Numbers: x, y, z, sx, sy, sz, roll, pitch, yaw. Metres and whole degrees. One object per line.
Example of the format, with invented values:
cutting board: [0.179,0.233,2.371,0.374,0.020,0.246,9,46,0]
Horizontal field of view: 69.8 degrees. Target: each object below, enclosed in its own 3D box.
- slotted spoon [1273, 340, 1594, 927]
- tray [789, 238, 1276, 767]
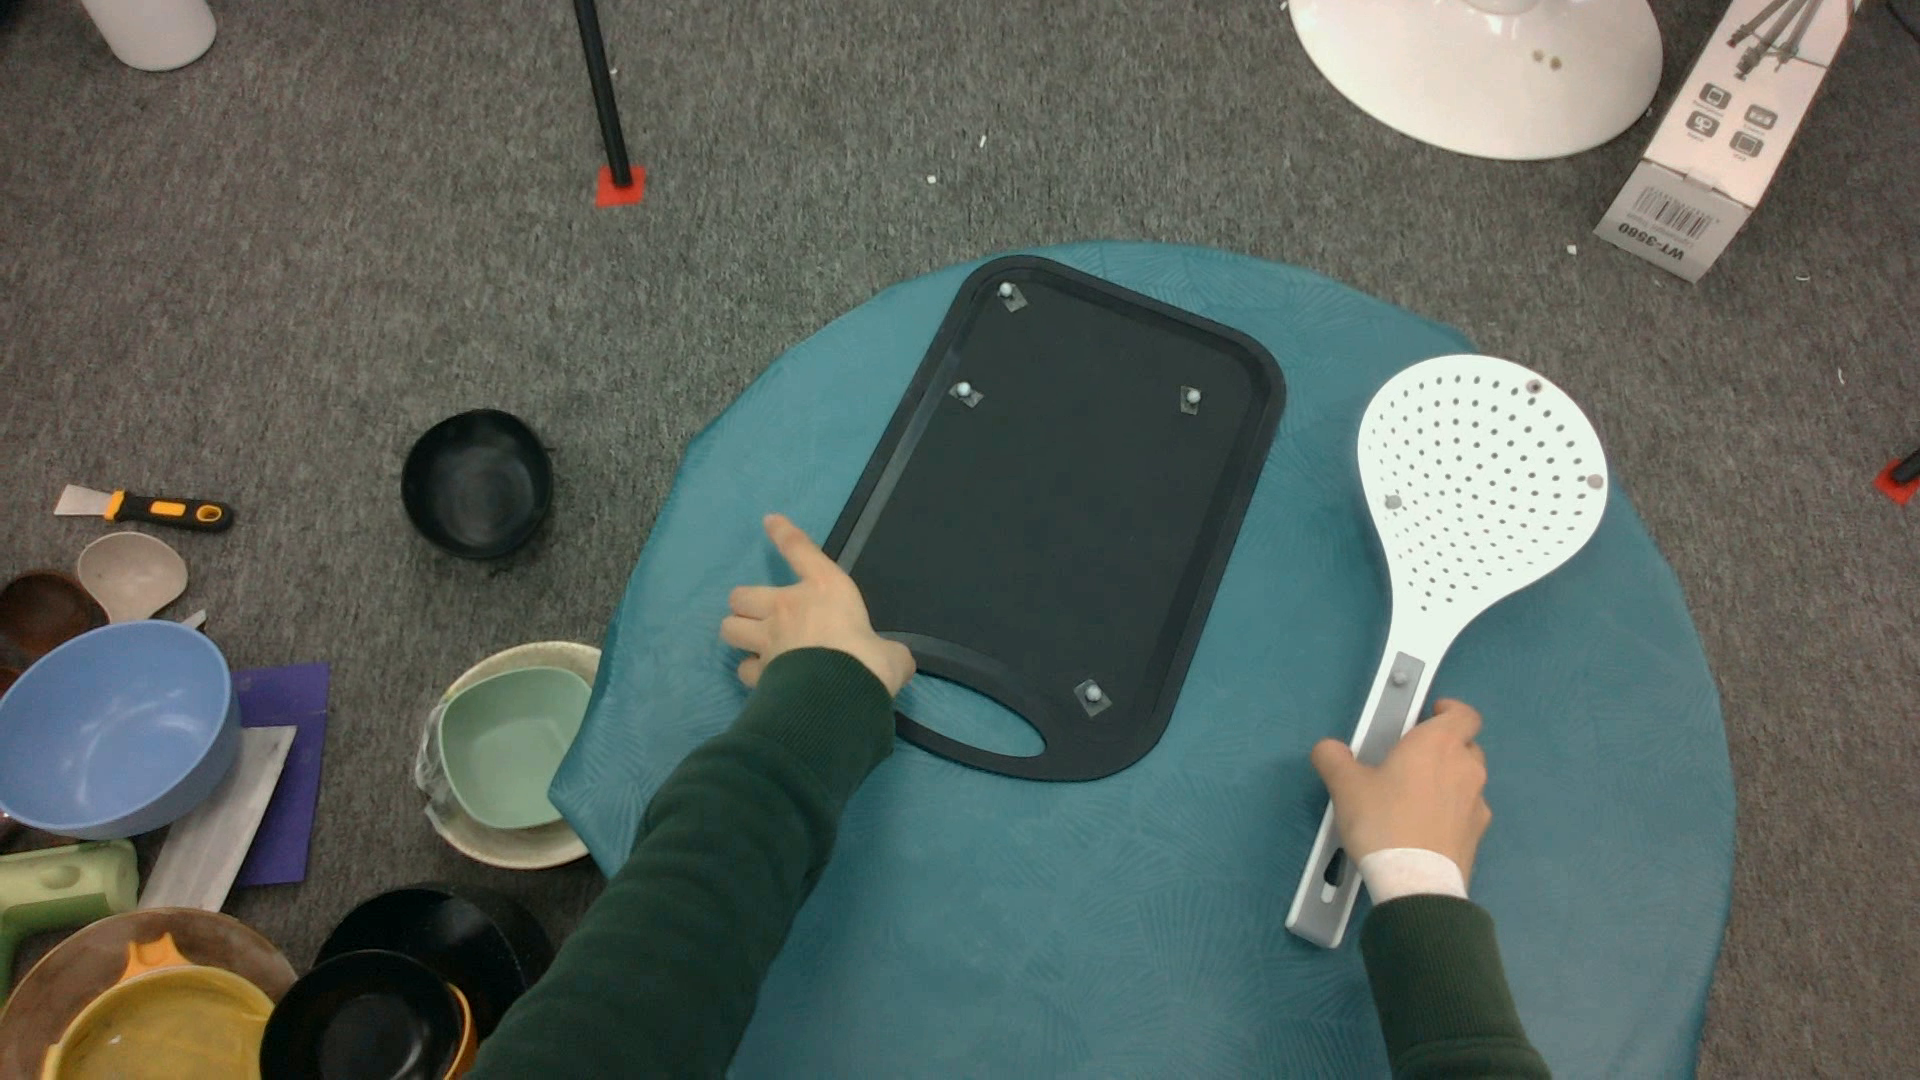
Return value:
slotted spoon: [0.240,0.040,0.736,0.136,0.045,0.351,24,64,9]
tray: [0.046,-0.030,0.777,0.211,0.010,0.327,22,64,7]
